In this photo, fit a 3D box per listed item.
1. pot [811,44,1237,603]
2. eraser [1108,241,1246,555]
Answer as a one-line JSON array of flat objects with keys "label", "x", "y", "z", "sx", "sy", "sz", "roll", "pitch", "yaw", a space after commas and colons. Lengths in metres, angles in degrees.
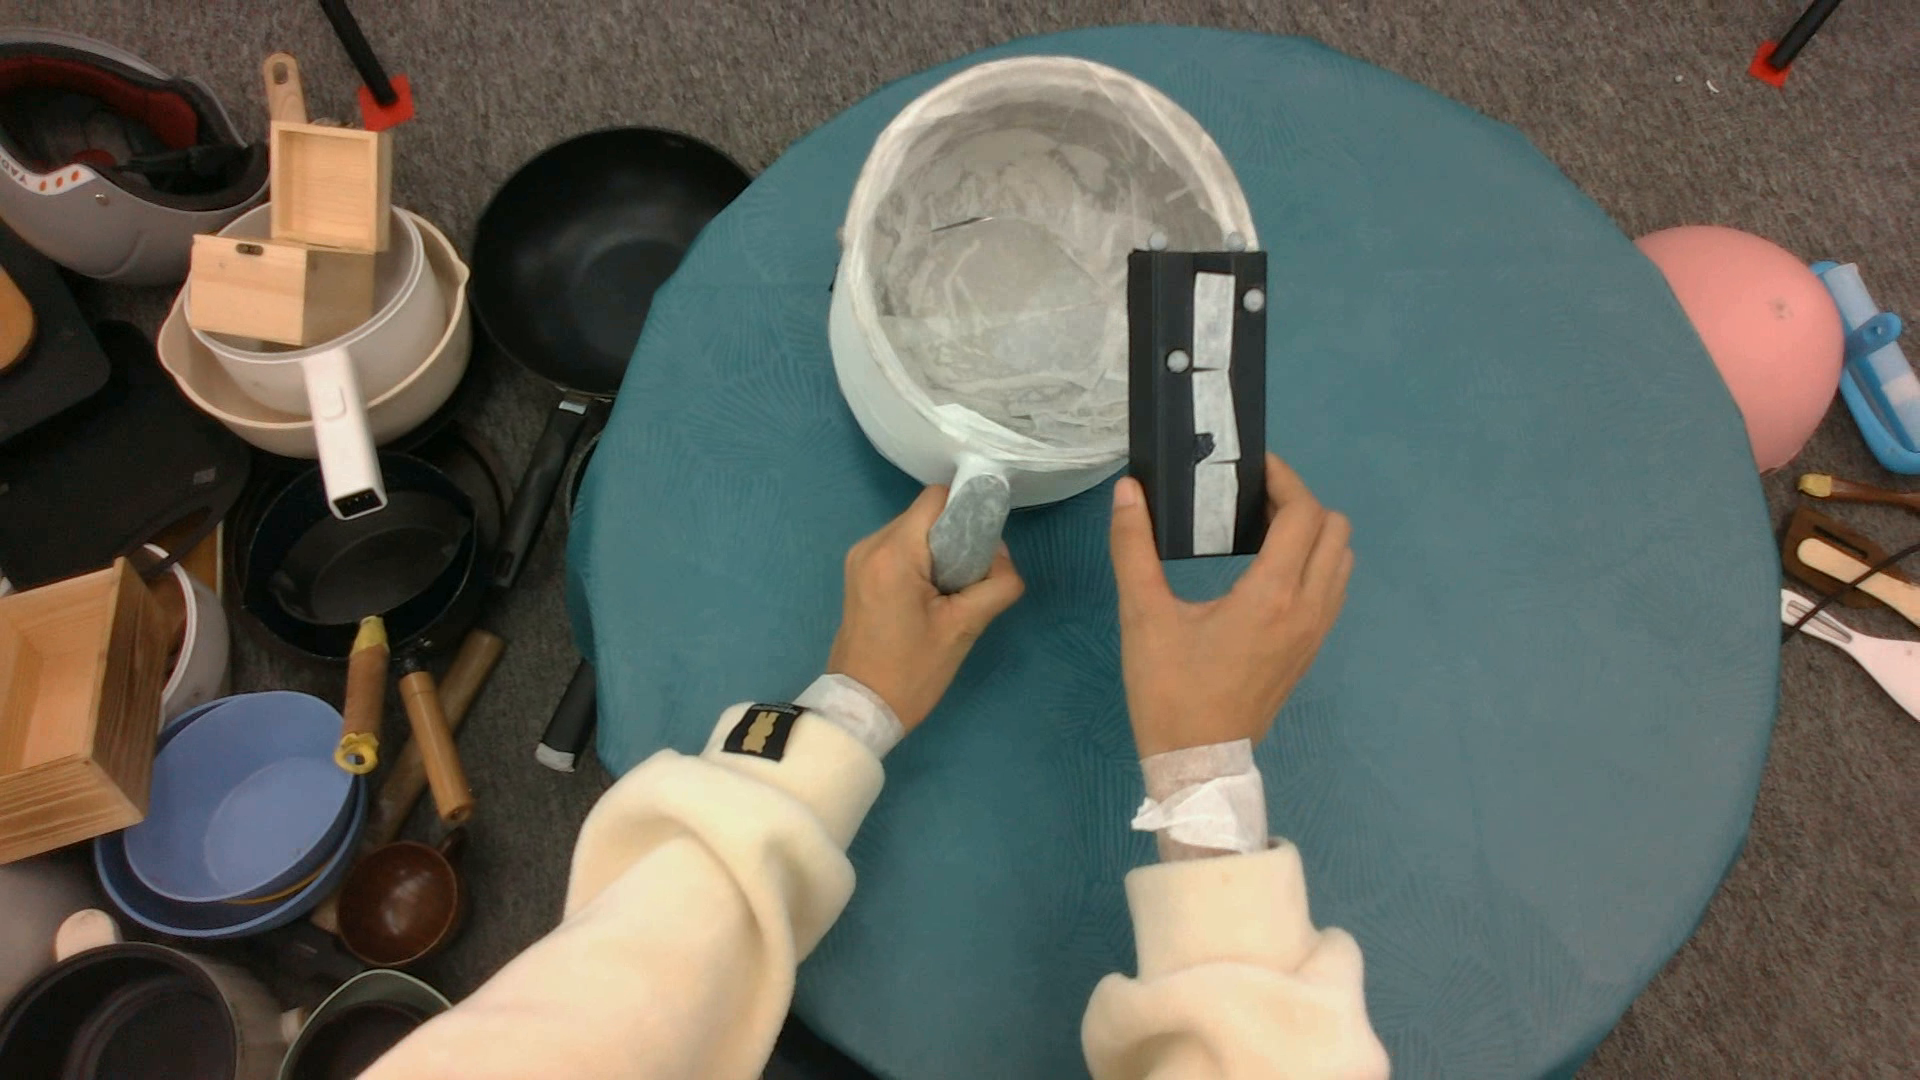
[{"label": "pot", "x": 0.016, "y": -0.088, "z": 0.631, "sx": 0.179, "sy": 0.136, "sz": 0.234, "roll": 14, "pitch": 78, "yaw": -6}, {"label": "eraser", "x": 0.088, "y": -0.058, "z": 0.562, "sx": 0.053, "sy": 0.030, "sz": 0.125, "roll": -2, "pitch": 96, "yaw": -17}]
